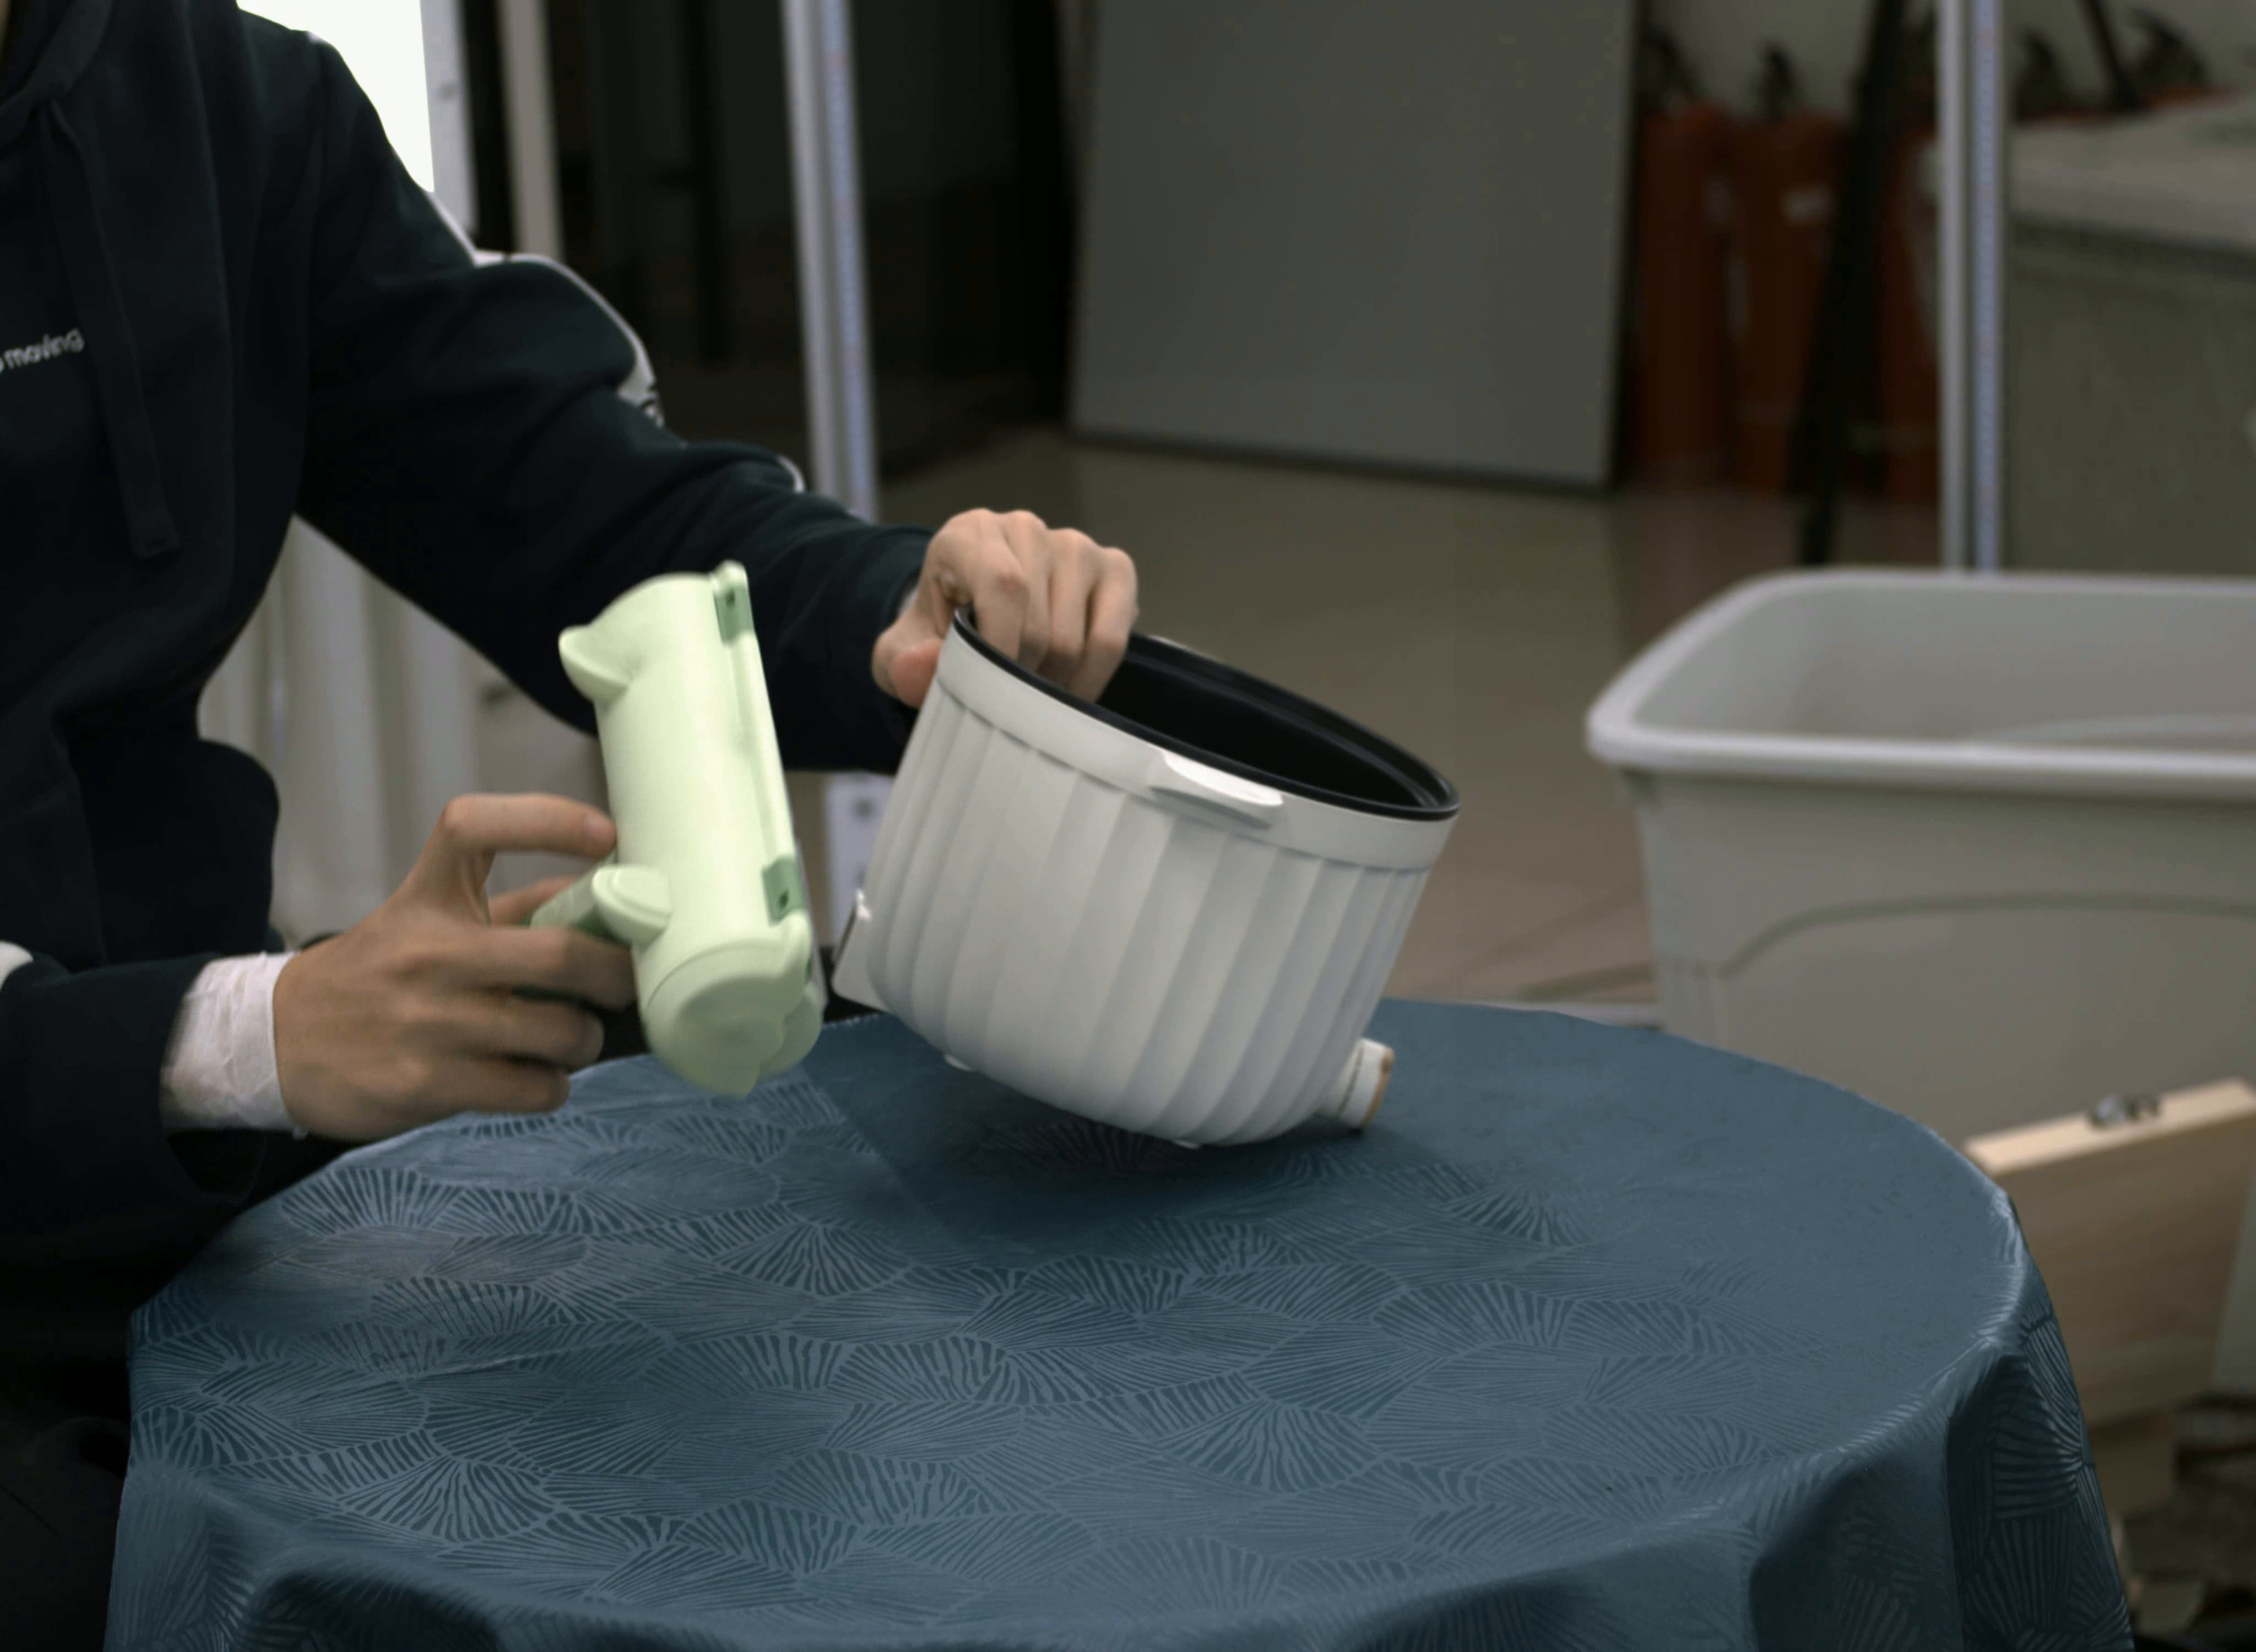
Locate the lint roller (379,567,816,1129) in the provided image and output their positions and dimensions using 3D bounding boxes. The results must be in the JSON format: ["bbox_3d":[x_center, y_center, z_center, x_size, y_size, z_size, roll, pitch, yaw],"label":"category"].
[{"bbox_3d":[-0.180,0.026,1.679,0.183,0.081,0.200,-33,38,17],"label":"lint roller"}]

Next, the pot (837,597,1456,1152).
[{"bbox_3d":[0.009,0.022,1.802,0.188,0.144,0.241,16,12,-6],"label":"pot"}]
